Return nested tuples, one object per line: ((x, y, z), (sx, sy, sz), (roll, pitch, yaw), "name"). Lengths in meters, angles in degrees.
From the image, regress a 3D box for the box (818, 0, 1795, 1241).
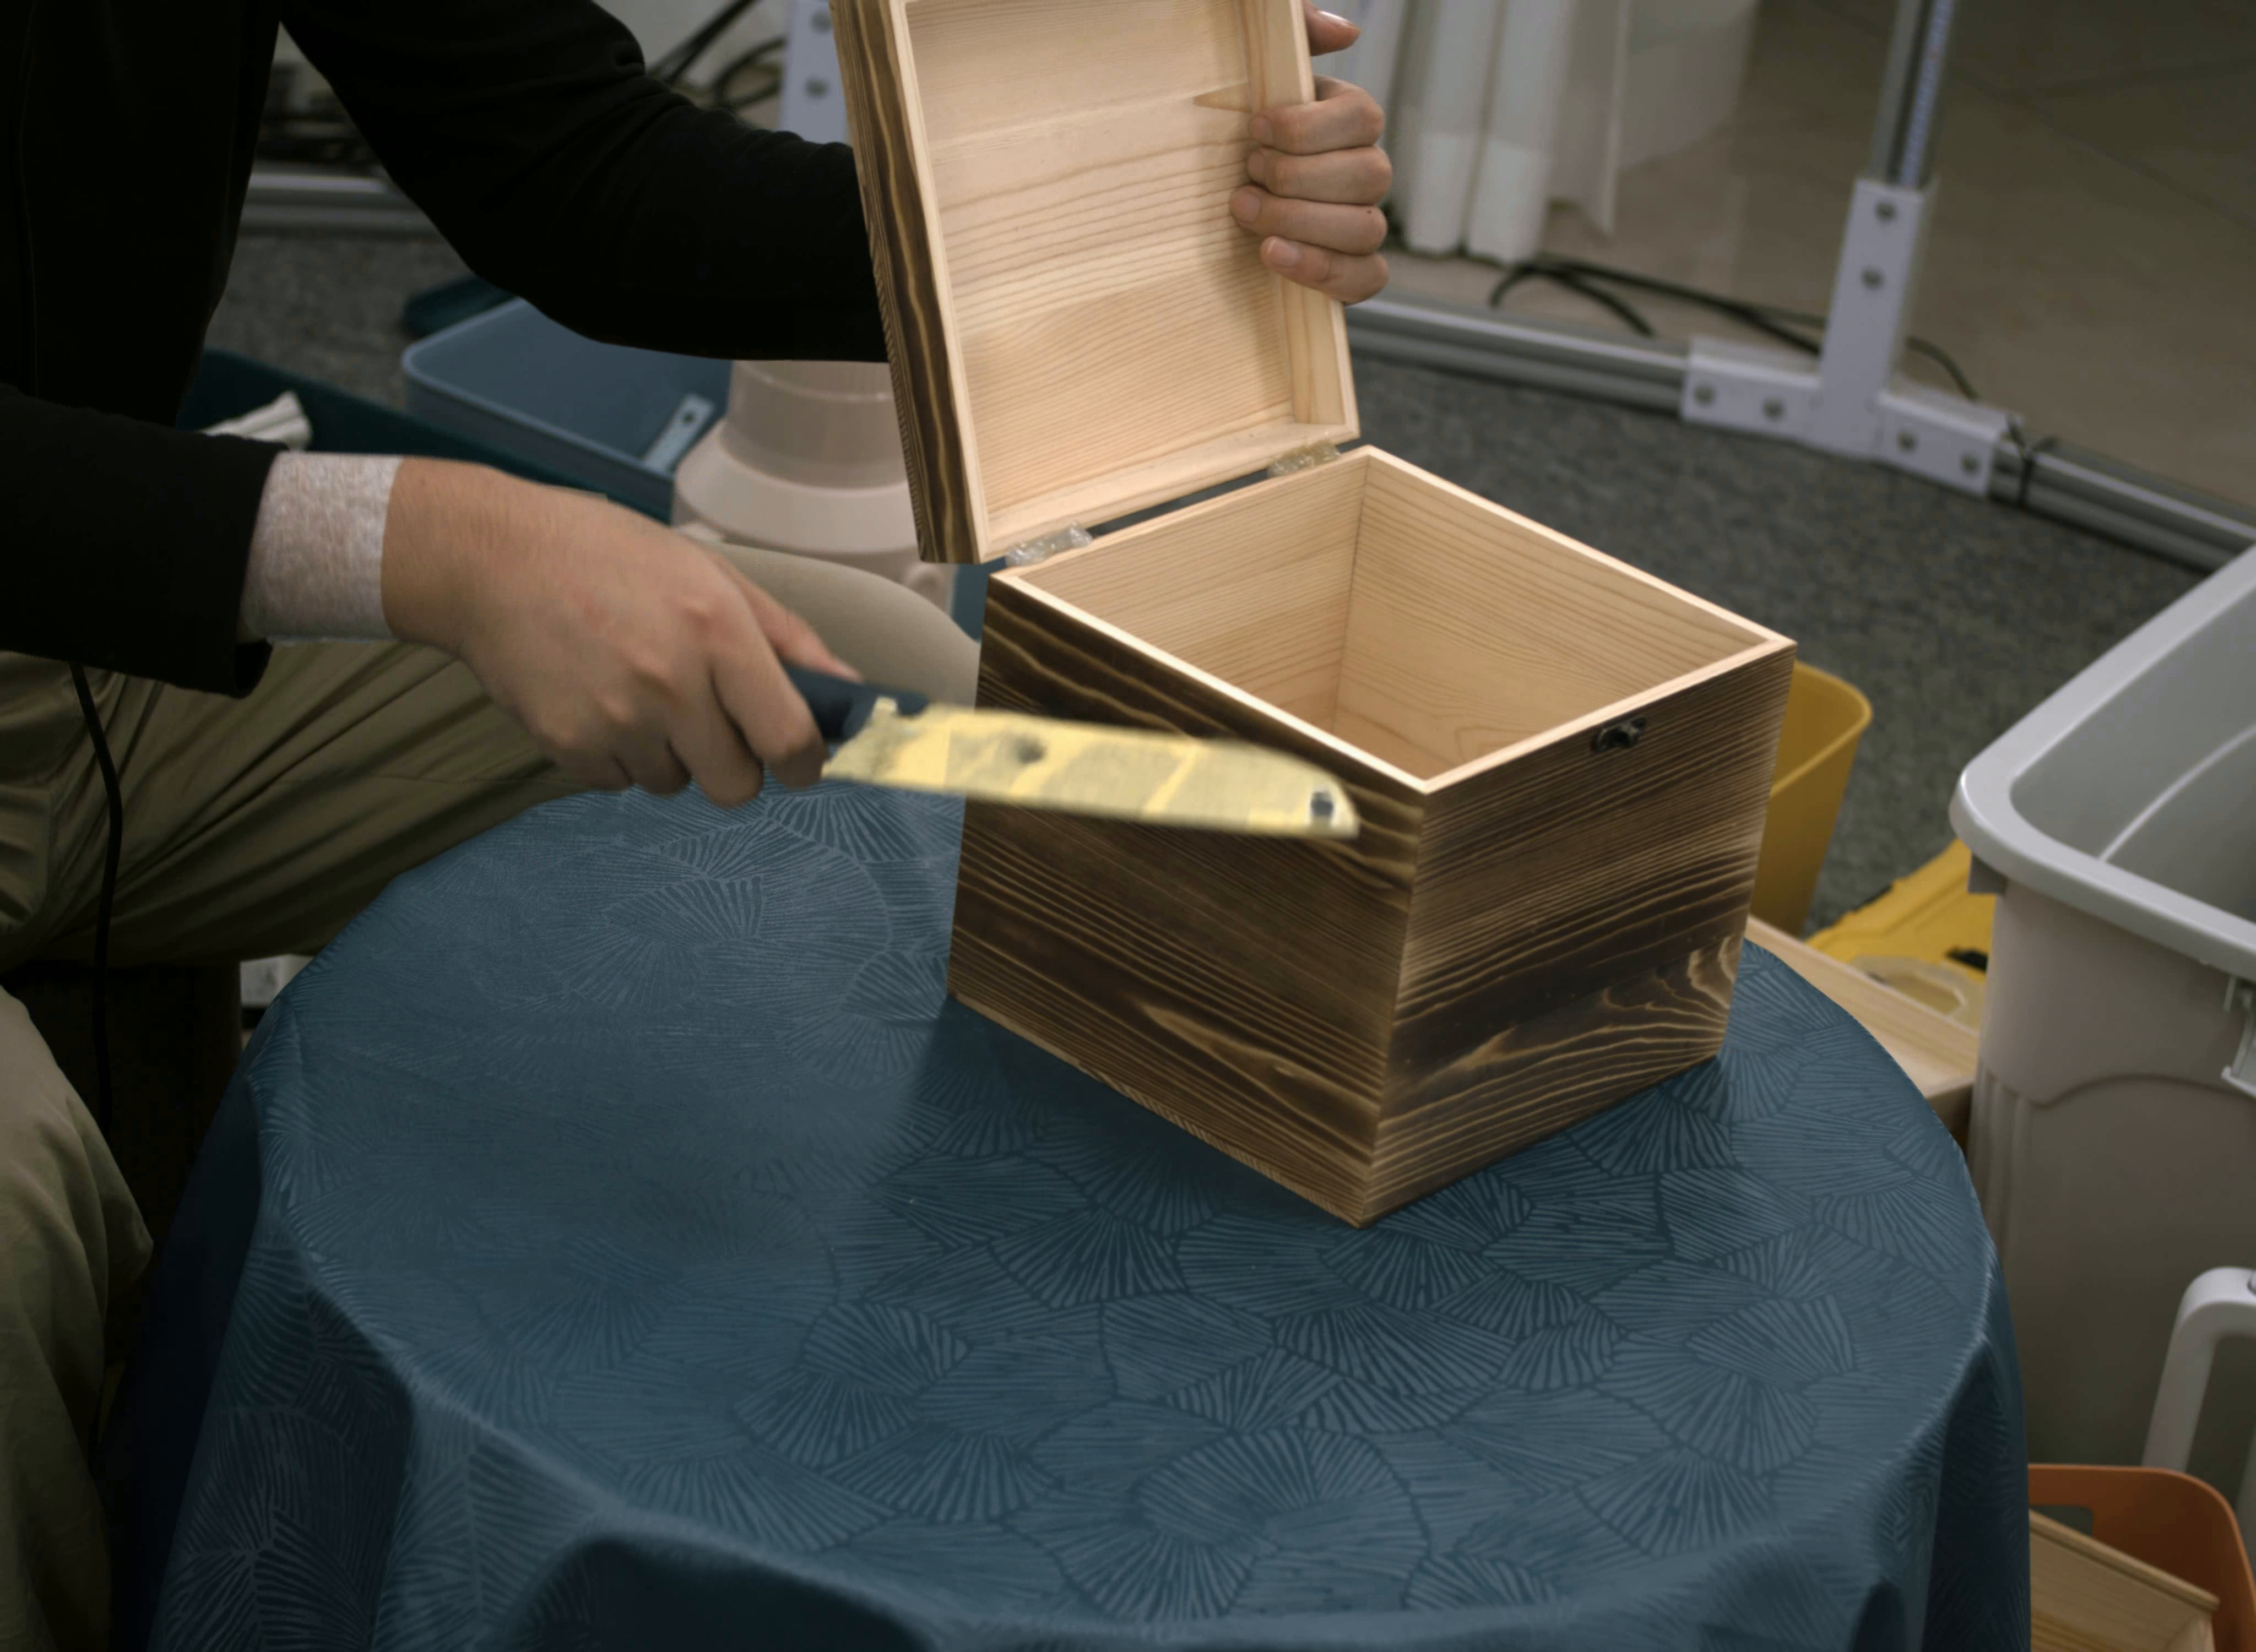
((0.054, -0.105, 1.868), (0.324, 0.374, 0.208), (27, 34, 36), "box")

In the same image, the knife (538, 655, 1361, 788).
((-0.063, -0.030, 1.714), (0.290, 0.027, 0.081), (6, 17, 19), "knife")
